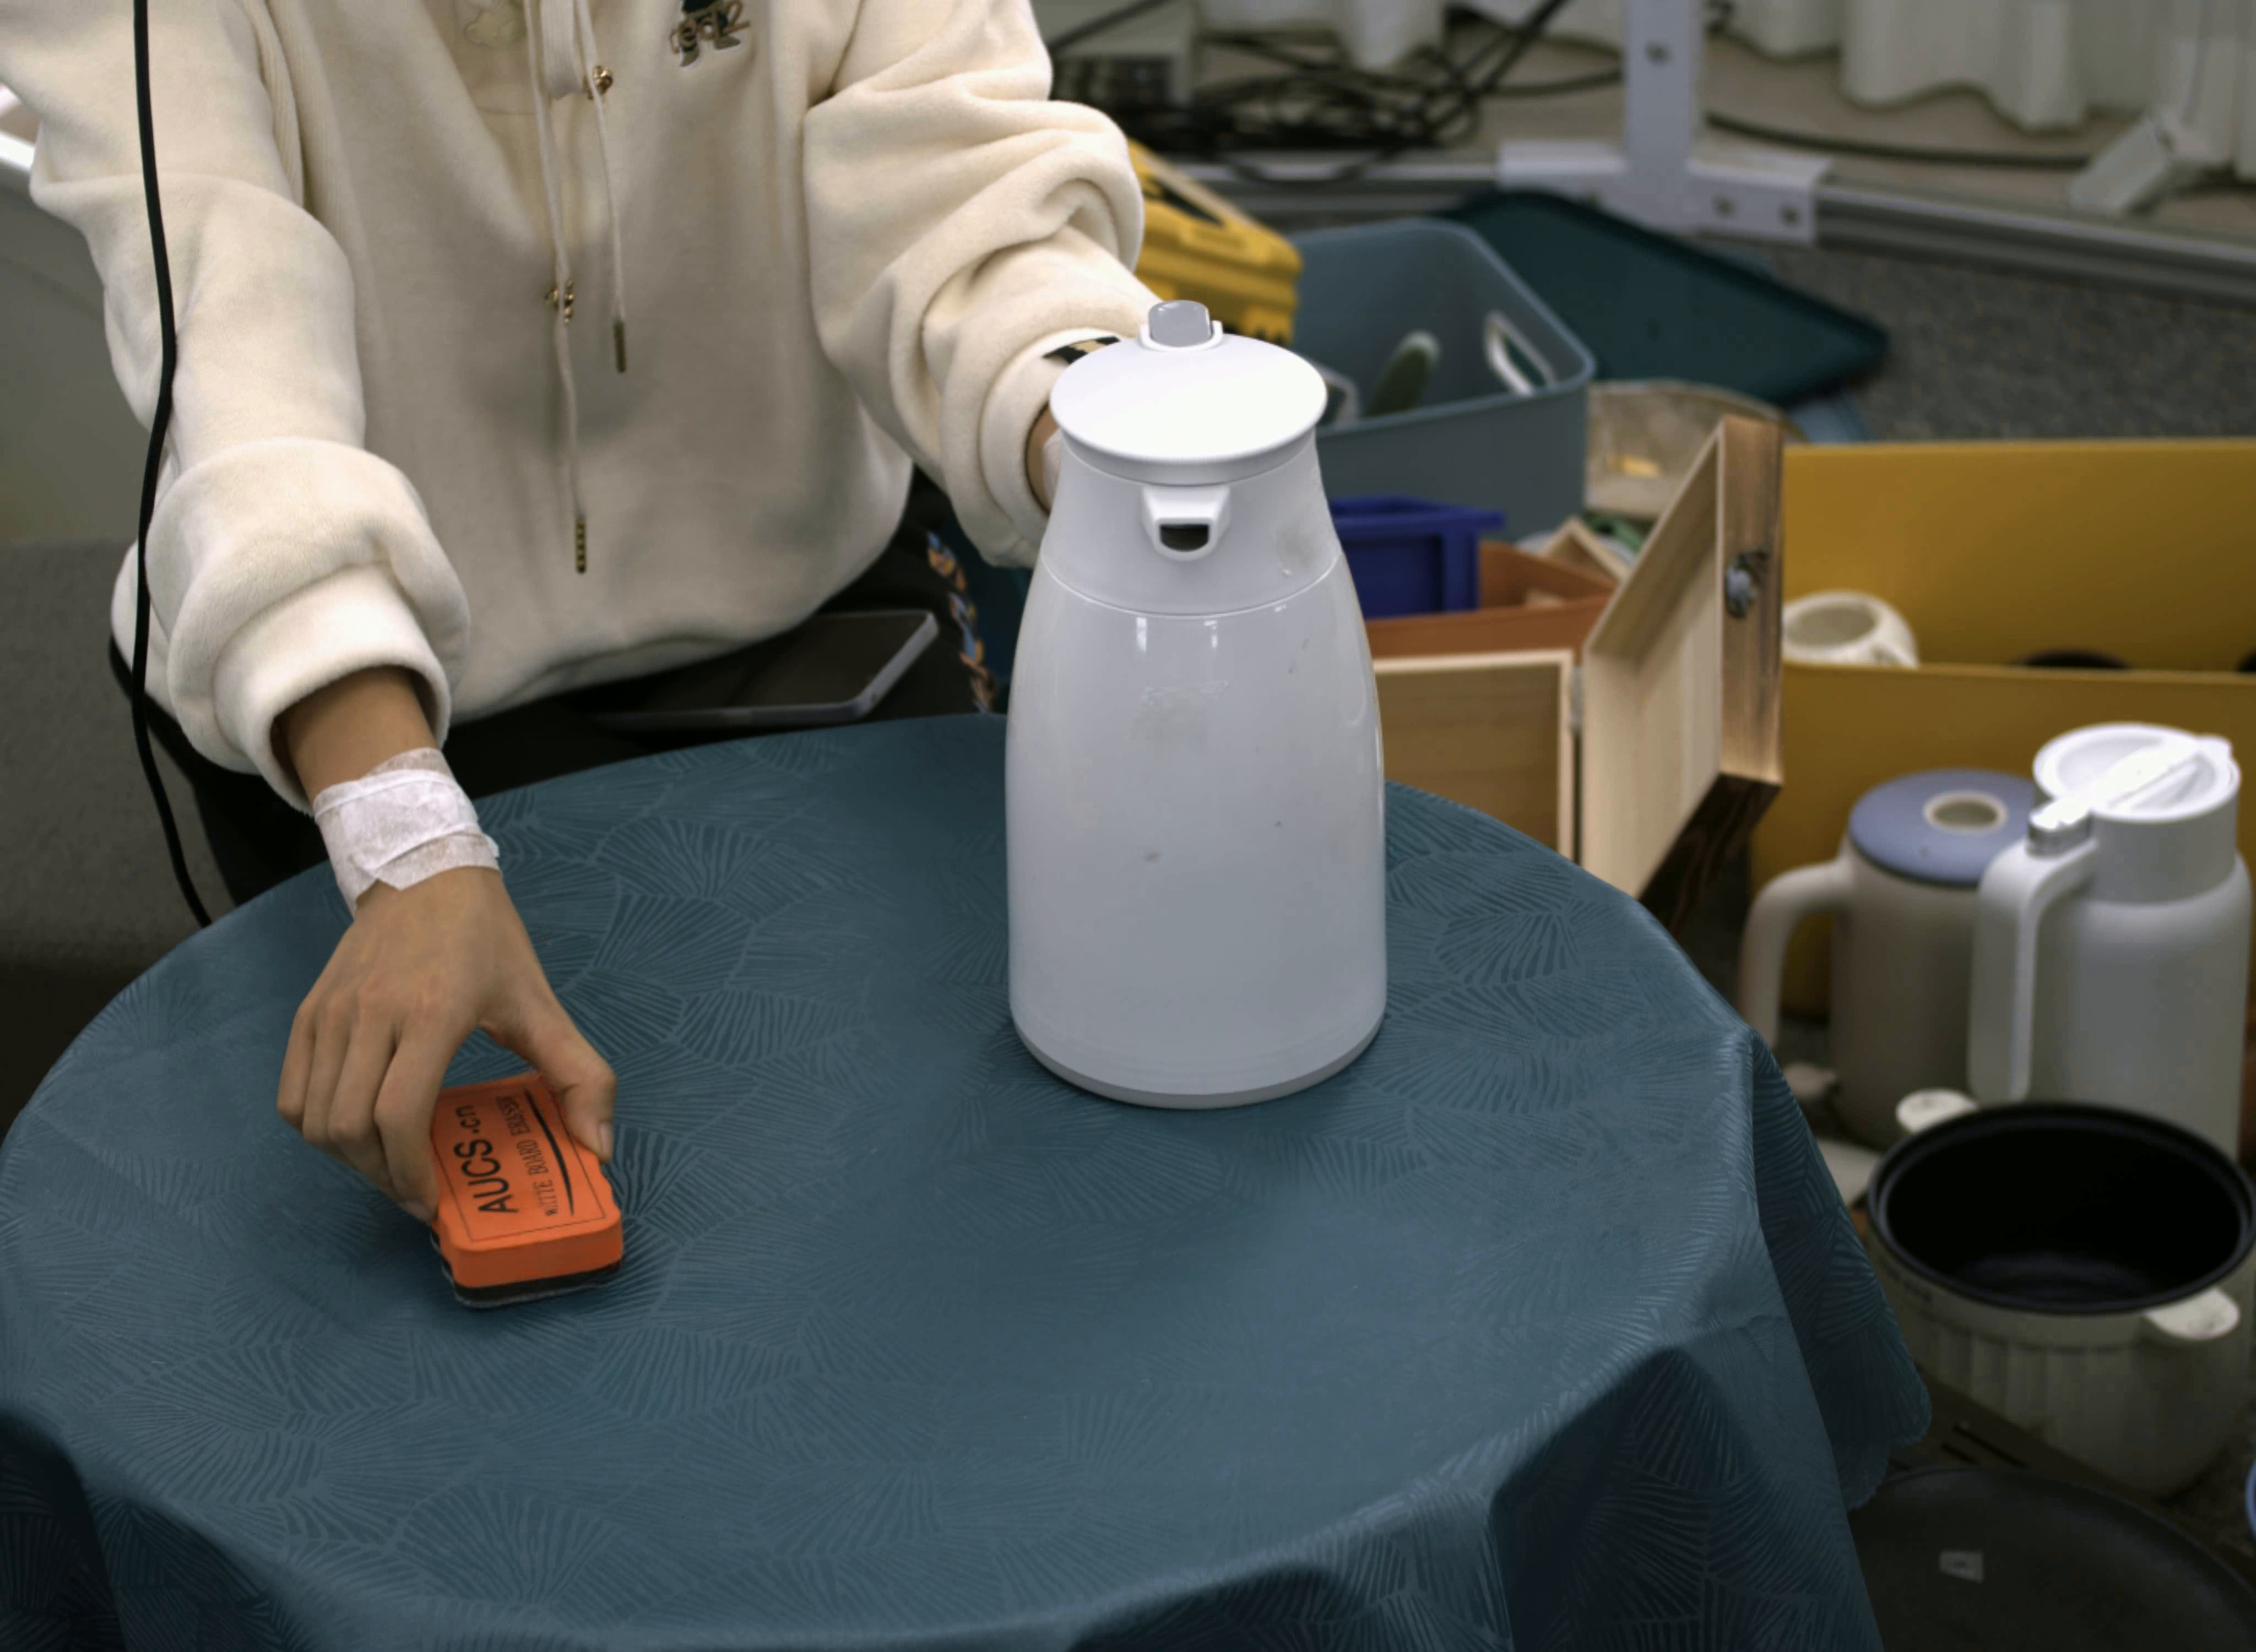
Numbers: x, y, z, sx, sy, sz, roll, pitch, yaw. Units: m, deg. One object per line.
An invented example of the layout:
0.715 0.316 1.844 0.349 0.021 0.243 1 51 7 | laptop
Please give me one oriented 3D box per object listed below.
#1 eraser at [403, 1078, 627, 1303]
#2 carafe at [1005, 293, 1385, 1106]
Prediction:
-0.204 0.120 1.856 0.059 0.022 0.109 -6 27 -16 | eraser
0.021 -0.054 1.919 0.132 0.245 0.170 -1 29 0 | carafe
